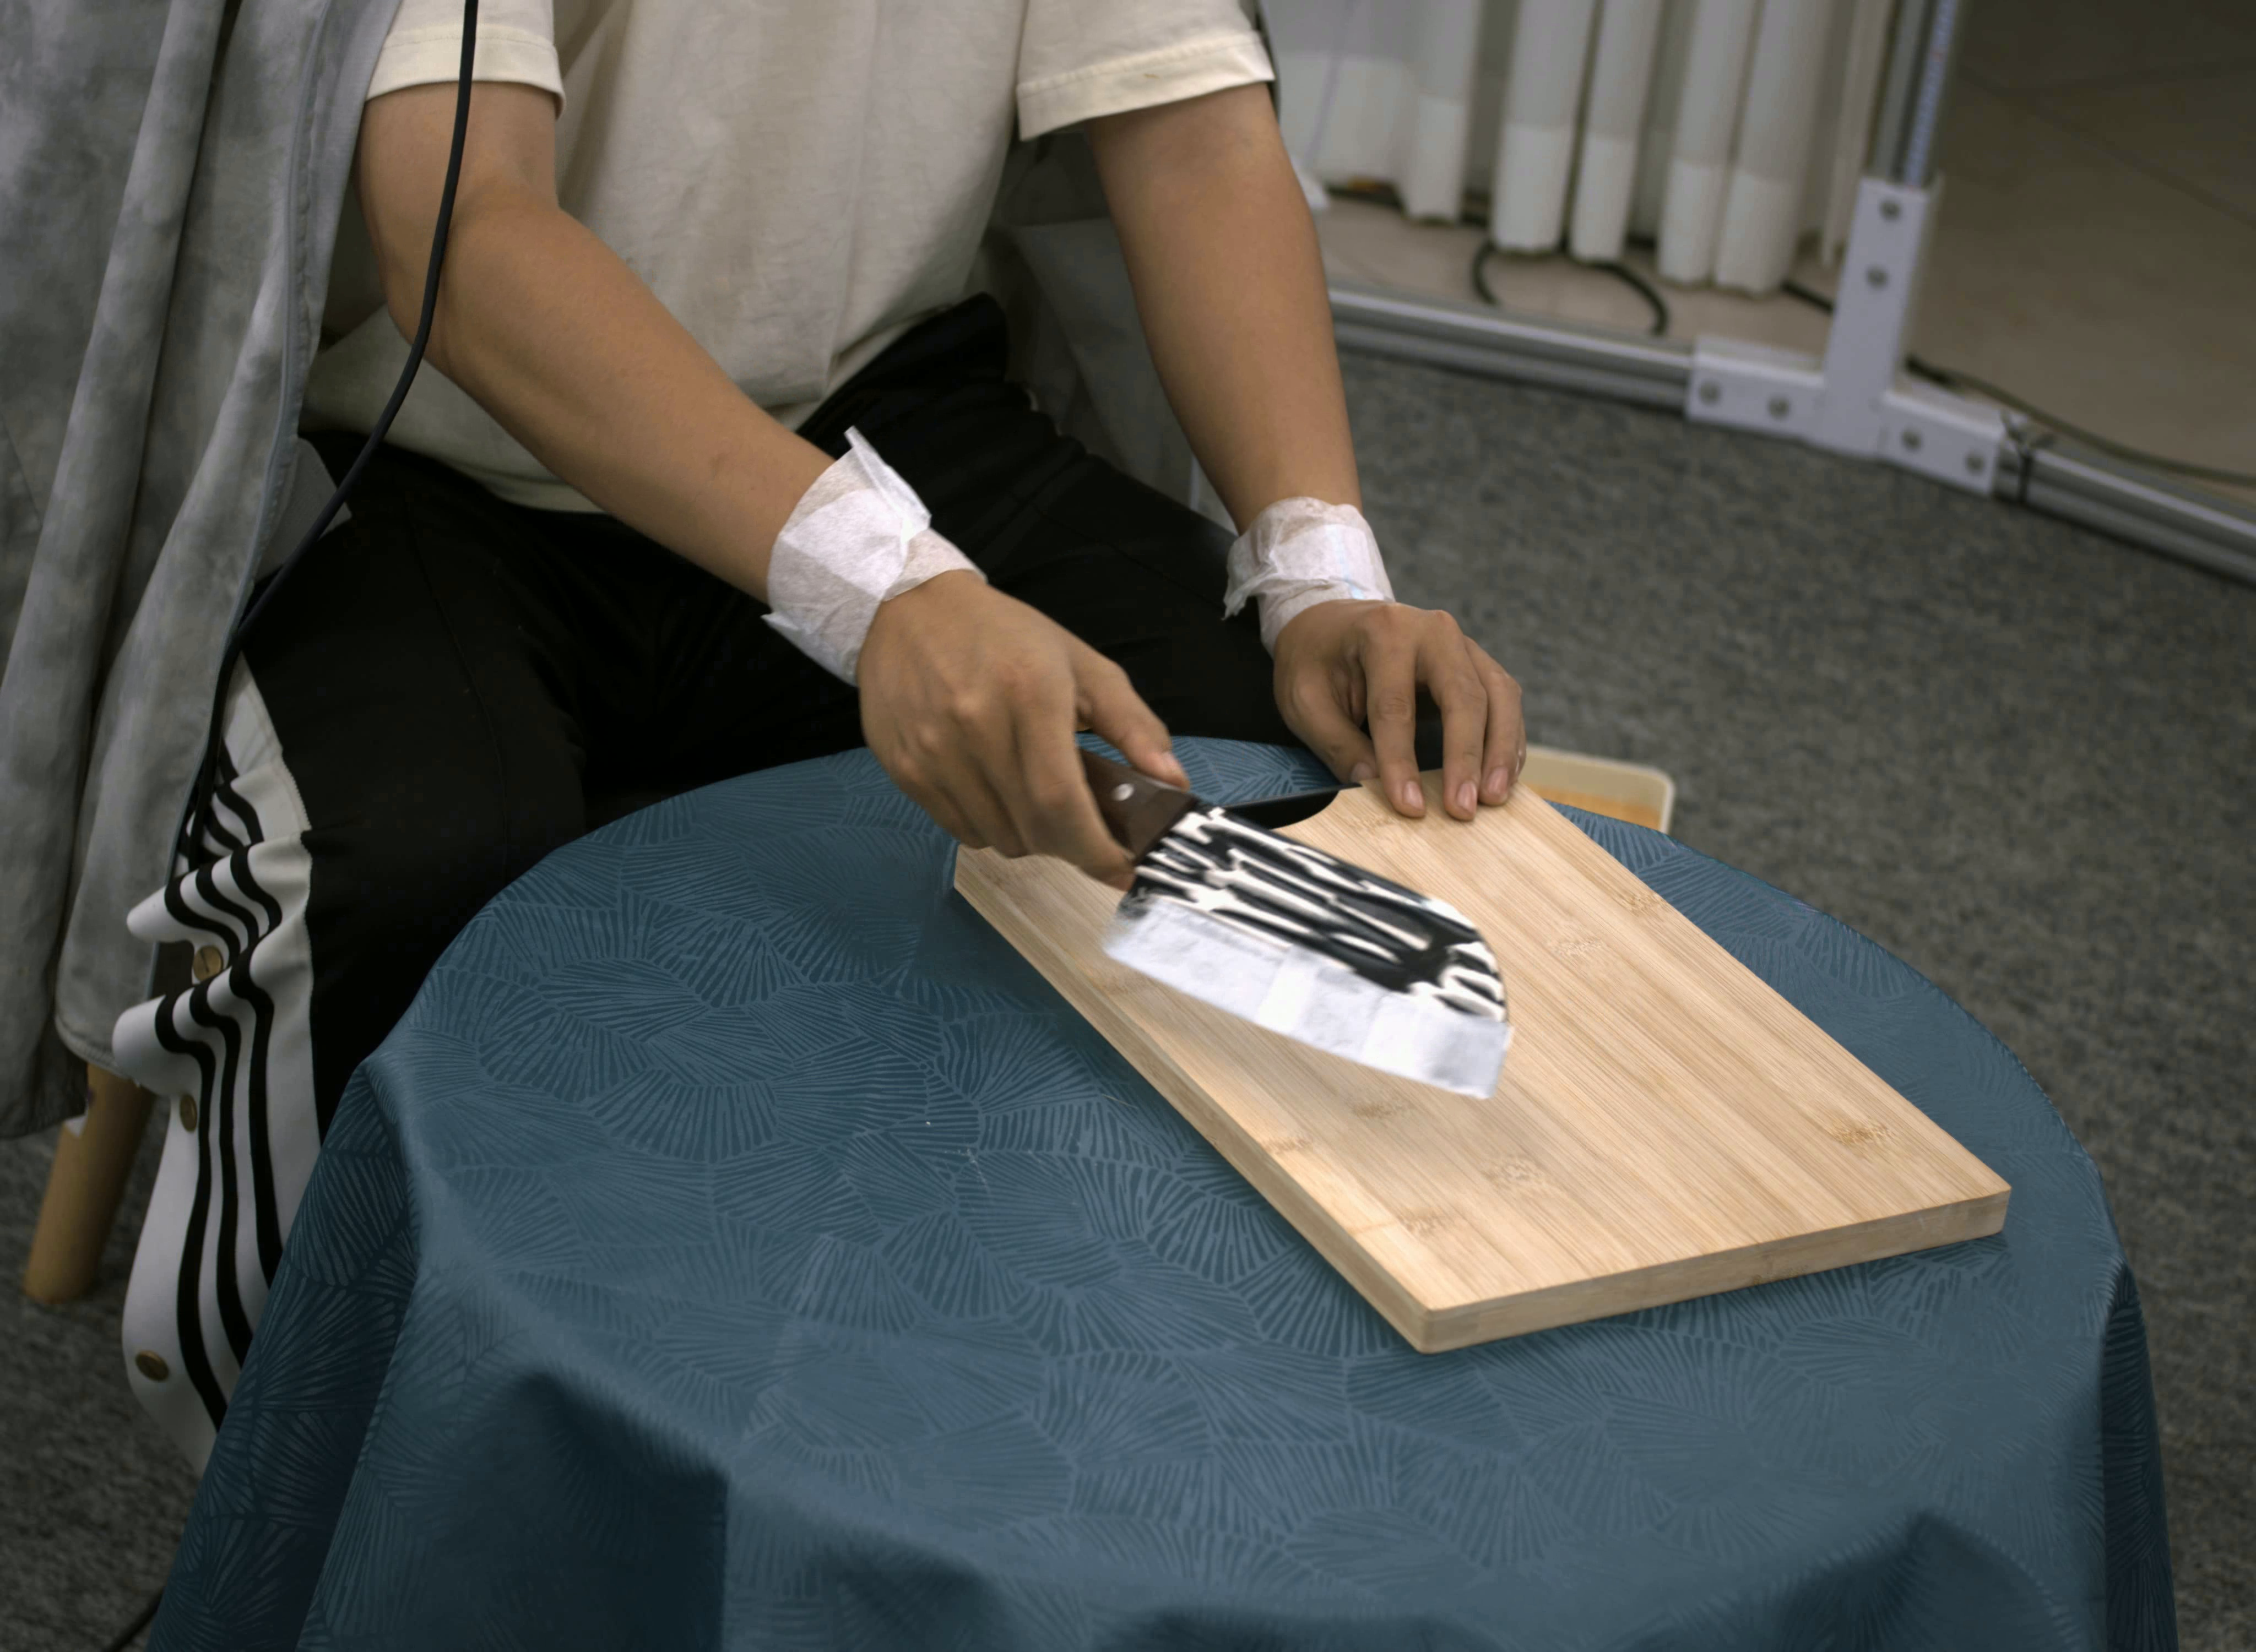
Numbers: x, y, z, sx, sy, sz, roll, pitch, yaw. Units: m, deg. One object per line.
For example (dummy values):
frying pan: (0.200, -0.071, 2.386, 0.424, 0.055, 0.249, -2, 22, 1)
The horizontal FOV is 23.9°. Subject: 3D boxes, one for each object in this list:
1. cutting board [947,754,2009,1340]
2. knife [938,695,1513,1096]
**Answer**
cutting board: (0.118, 0.072, 1.916, 0.249, 0.023, 0.352, -9, 31, -29)
knife: (0.028, 0.023, 1.870, 0.302, 0.024, 0.068, 25, 74, 39)
